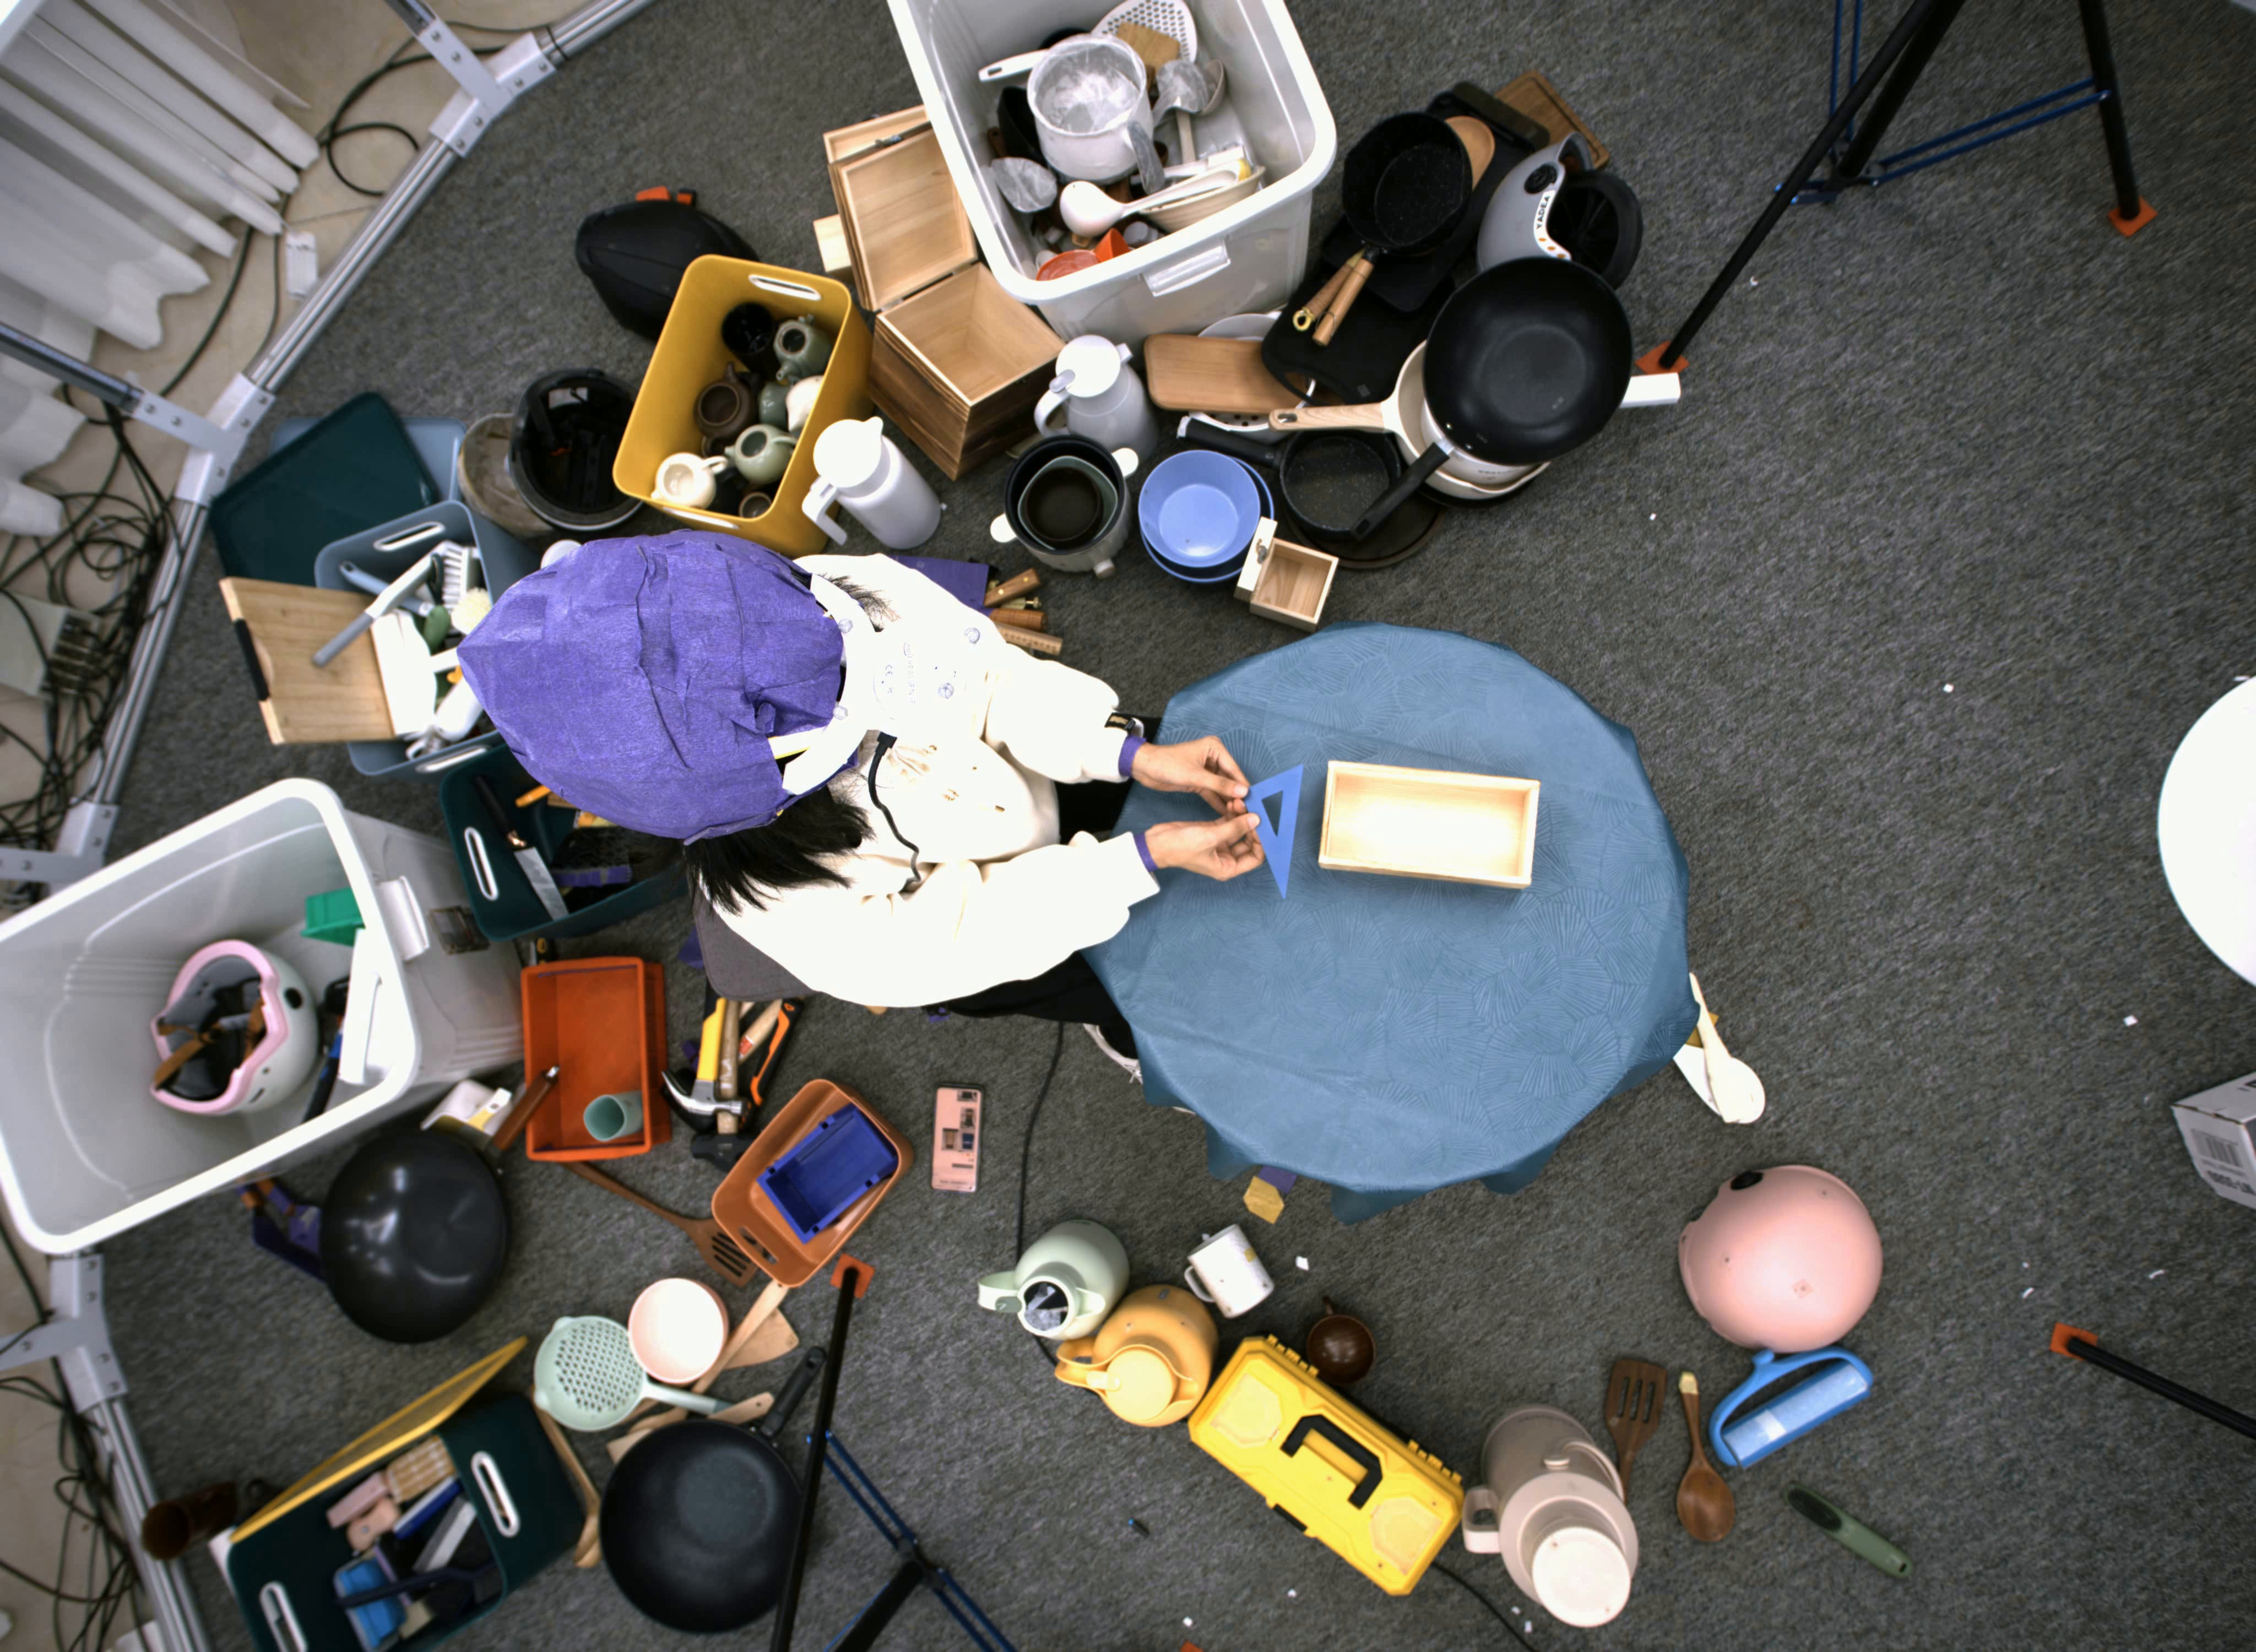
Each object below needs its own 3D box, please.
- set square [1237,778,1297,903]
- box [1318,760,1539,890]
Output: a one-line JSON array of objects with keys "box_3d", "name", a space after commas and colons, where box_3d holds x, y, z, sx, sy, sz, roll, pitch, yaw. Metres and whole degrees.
[{"box_3d": [0.132, 0.010, 1.406, 0.061, 0.006, 0.132, 13, 93, 16], "name": "set square"}, {"box_3d": [0.307, -0.002, 1.417, 0.212, 0.080, 0.107, 5, 86, 10], "name": "box"}]
